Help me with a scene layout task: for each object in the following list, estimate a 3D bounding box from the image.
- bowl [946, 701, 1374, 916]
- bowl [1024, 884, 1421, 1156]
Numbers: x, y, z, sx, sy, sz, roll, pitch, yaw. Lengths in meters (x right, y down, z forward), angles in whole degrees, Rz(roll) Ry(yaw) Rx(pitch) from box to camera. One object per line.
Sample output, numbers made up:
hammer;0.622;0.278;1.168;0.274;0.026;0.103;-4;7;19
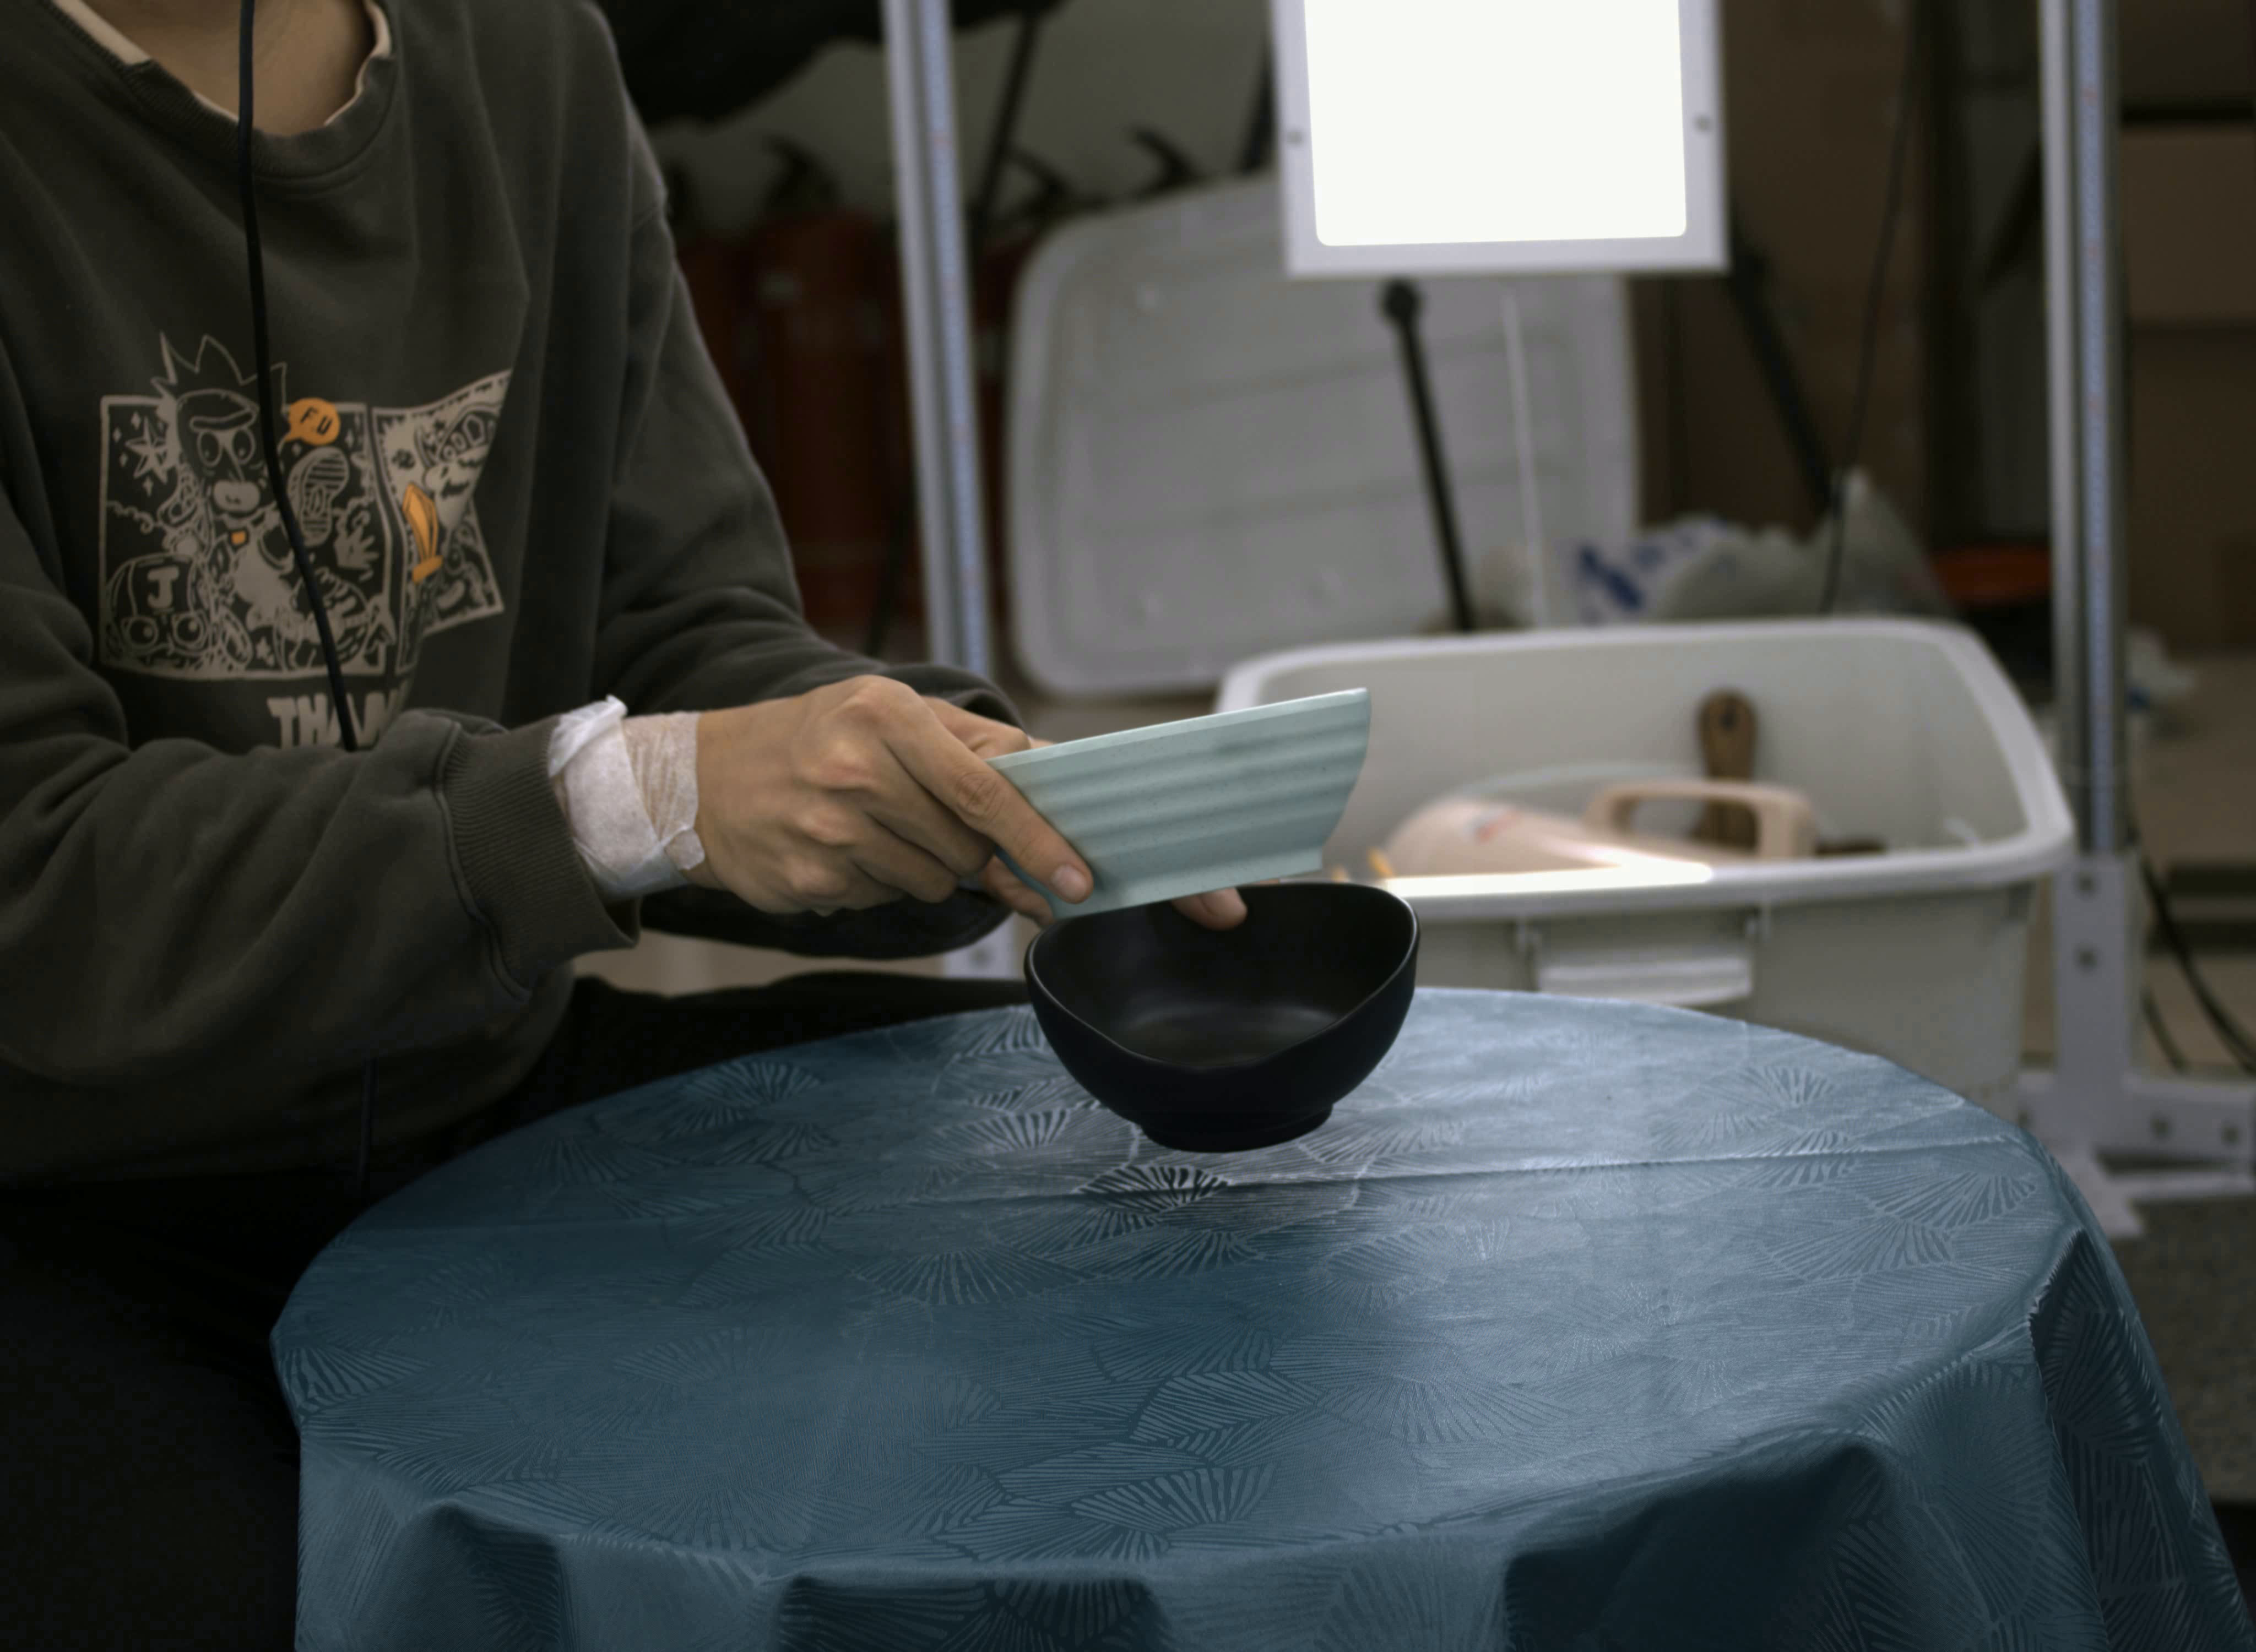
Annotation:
bowl;0.014;-0.004;1.860;0.151;0.059;0.151;-7;-3;-2
bowl;0.036;0.071;1.892;0.137;0.067;0.170;-7;18;2
